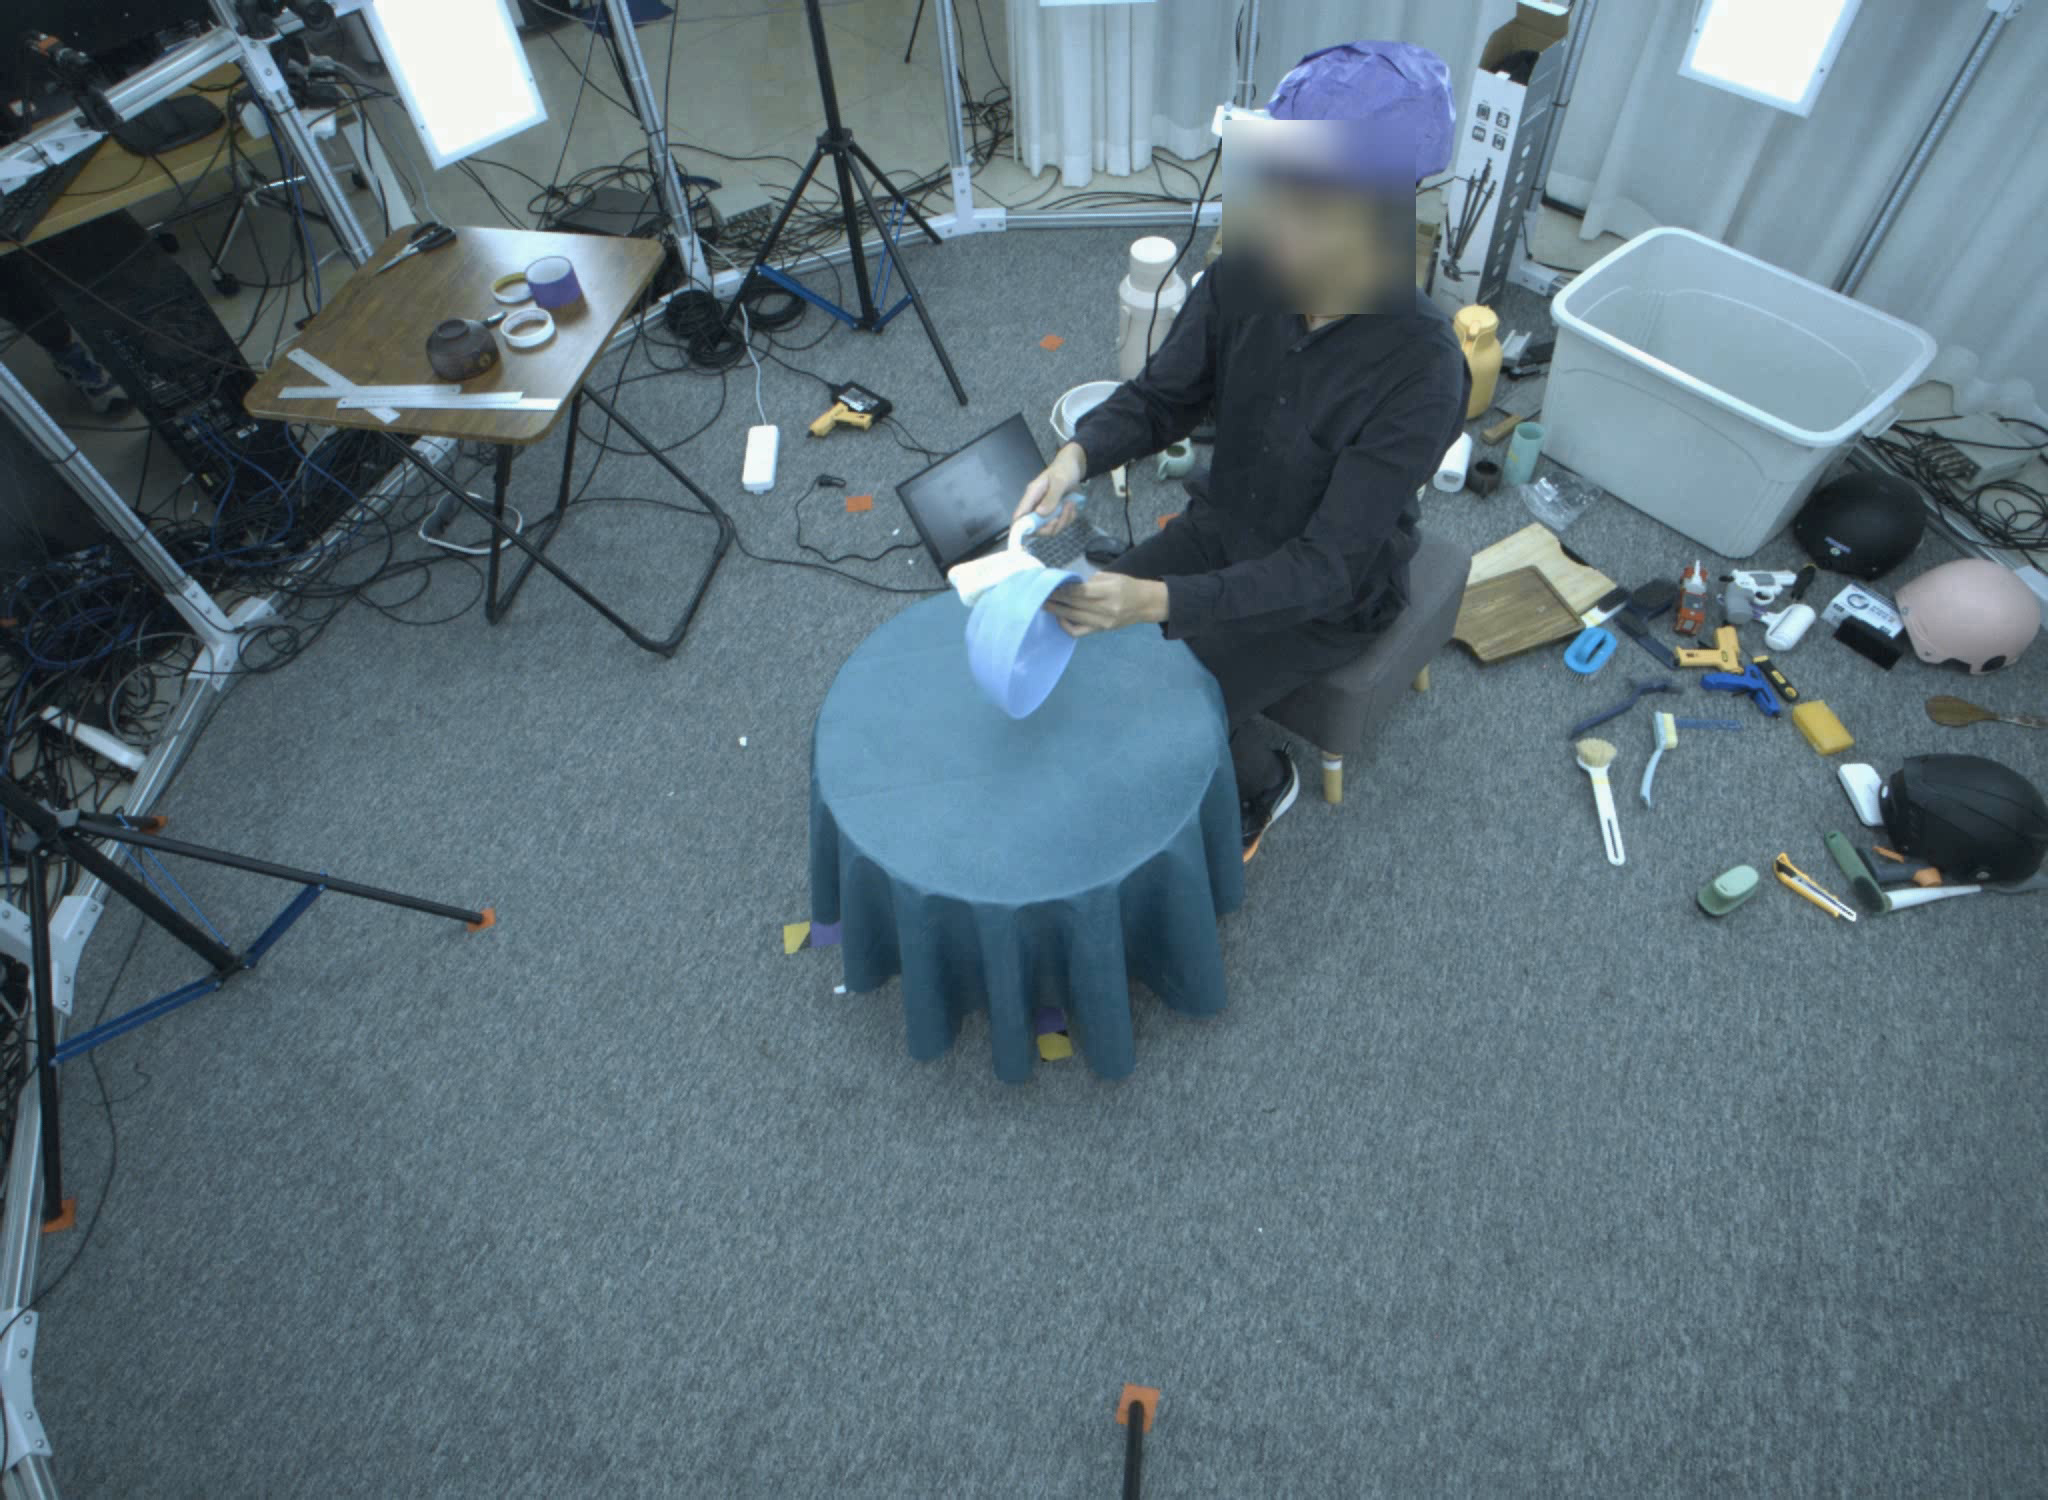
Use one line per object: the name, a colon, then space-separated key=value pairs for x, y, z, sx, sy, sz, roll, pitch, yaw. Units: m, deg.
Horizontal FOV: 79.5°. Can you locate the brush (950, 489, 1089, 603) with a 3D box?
brush: x=0.022 y=-0.267 z=1.625 sx=0.081 sy=0.085 sz=0.328 roll=3 pitch=28 yaw=35

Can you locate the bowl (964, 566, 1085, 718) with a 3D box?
bowl: x=-0.011 y=-0.148 z=1.532 sx=0.094 sy=0.198 sz=0.197 roll=26 pitch=60 yaw=17
